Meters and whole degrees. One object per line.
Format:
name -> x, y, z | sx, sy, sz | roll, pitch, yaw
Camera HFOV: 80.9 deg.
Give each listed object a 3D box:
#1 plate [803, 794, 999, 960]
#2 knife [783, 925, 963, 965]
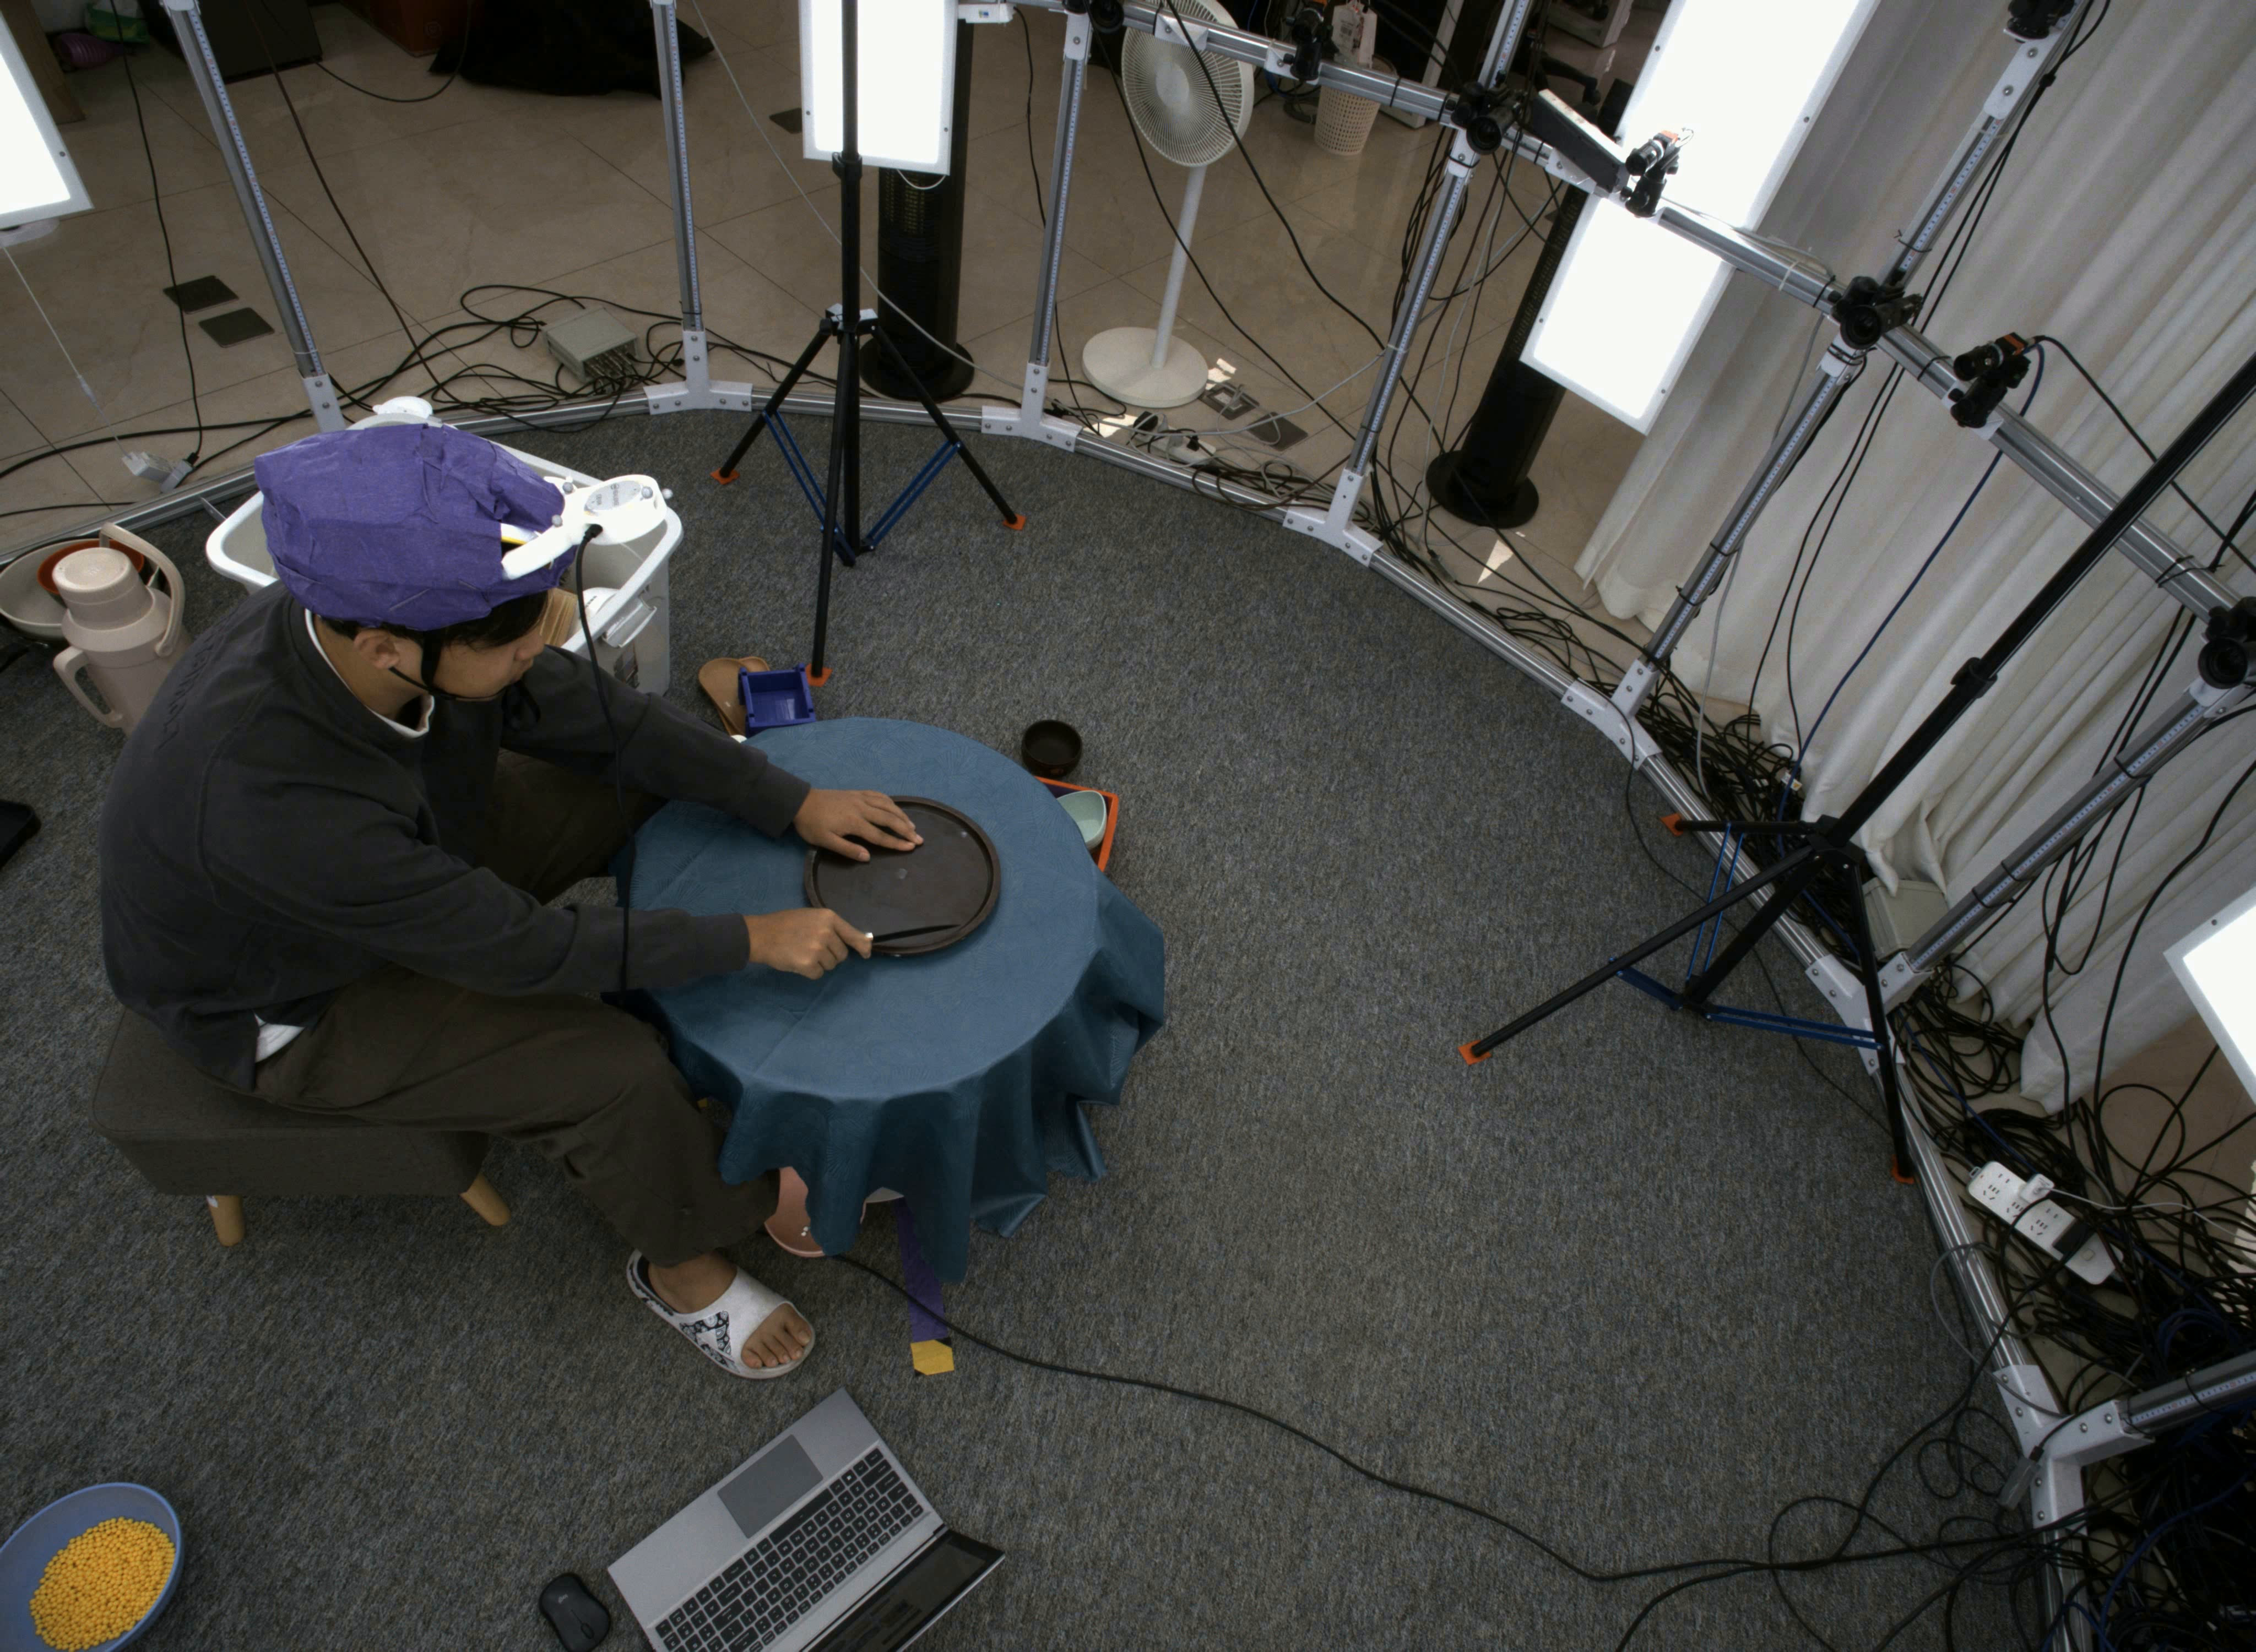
plate -> -0.293, 0.063, 1.691 | 0.254, 0.029, 0.250 | 7, 54, -8
knife -> -0.311, 0.141, 1.602 | 0.227, 0.026, 0.017 | -10, 63, -22
